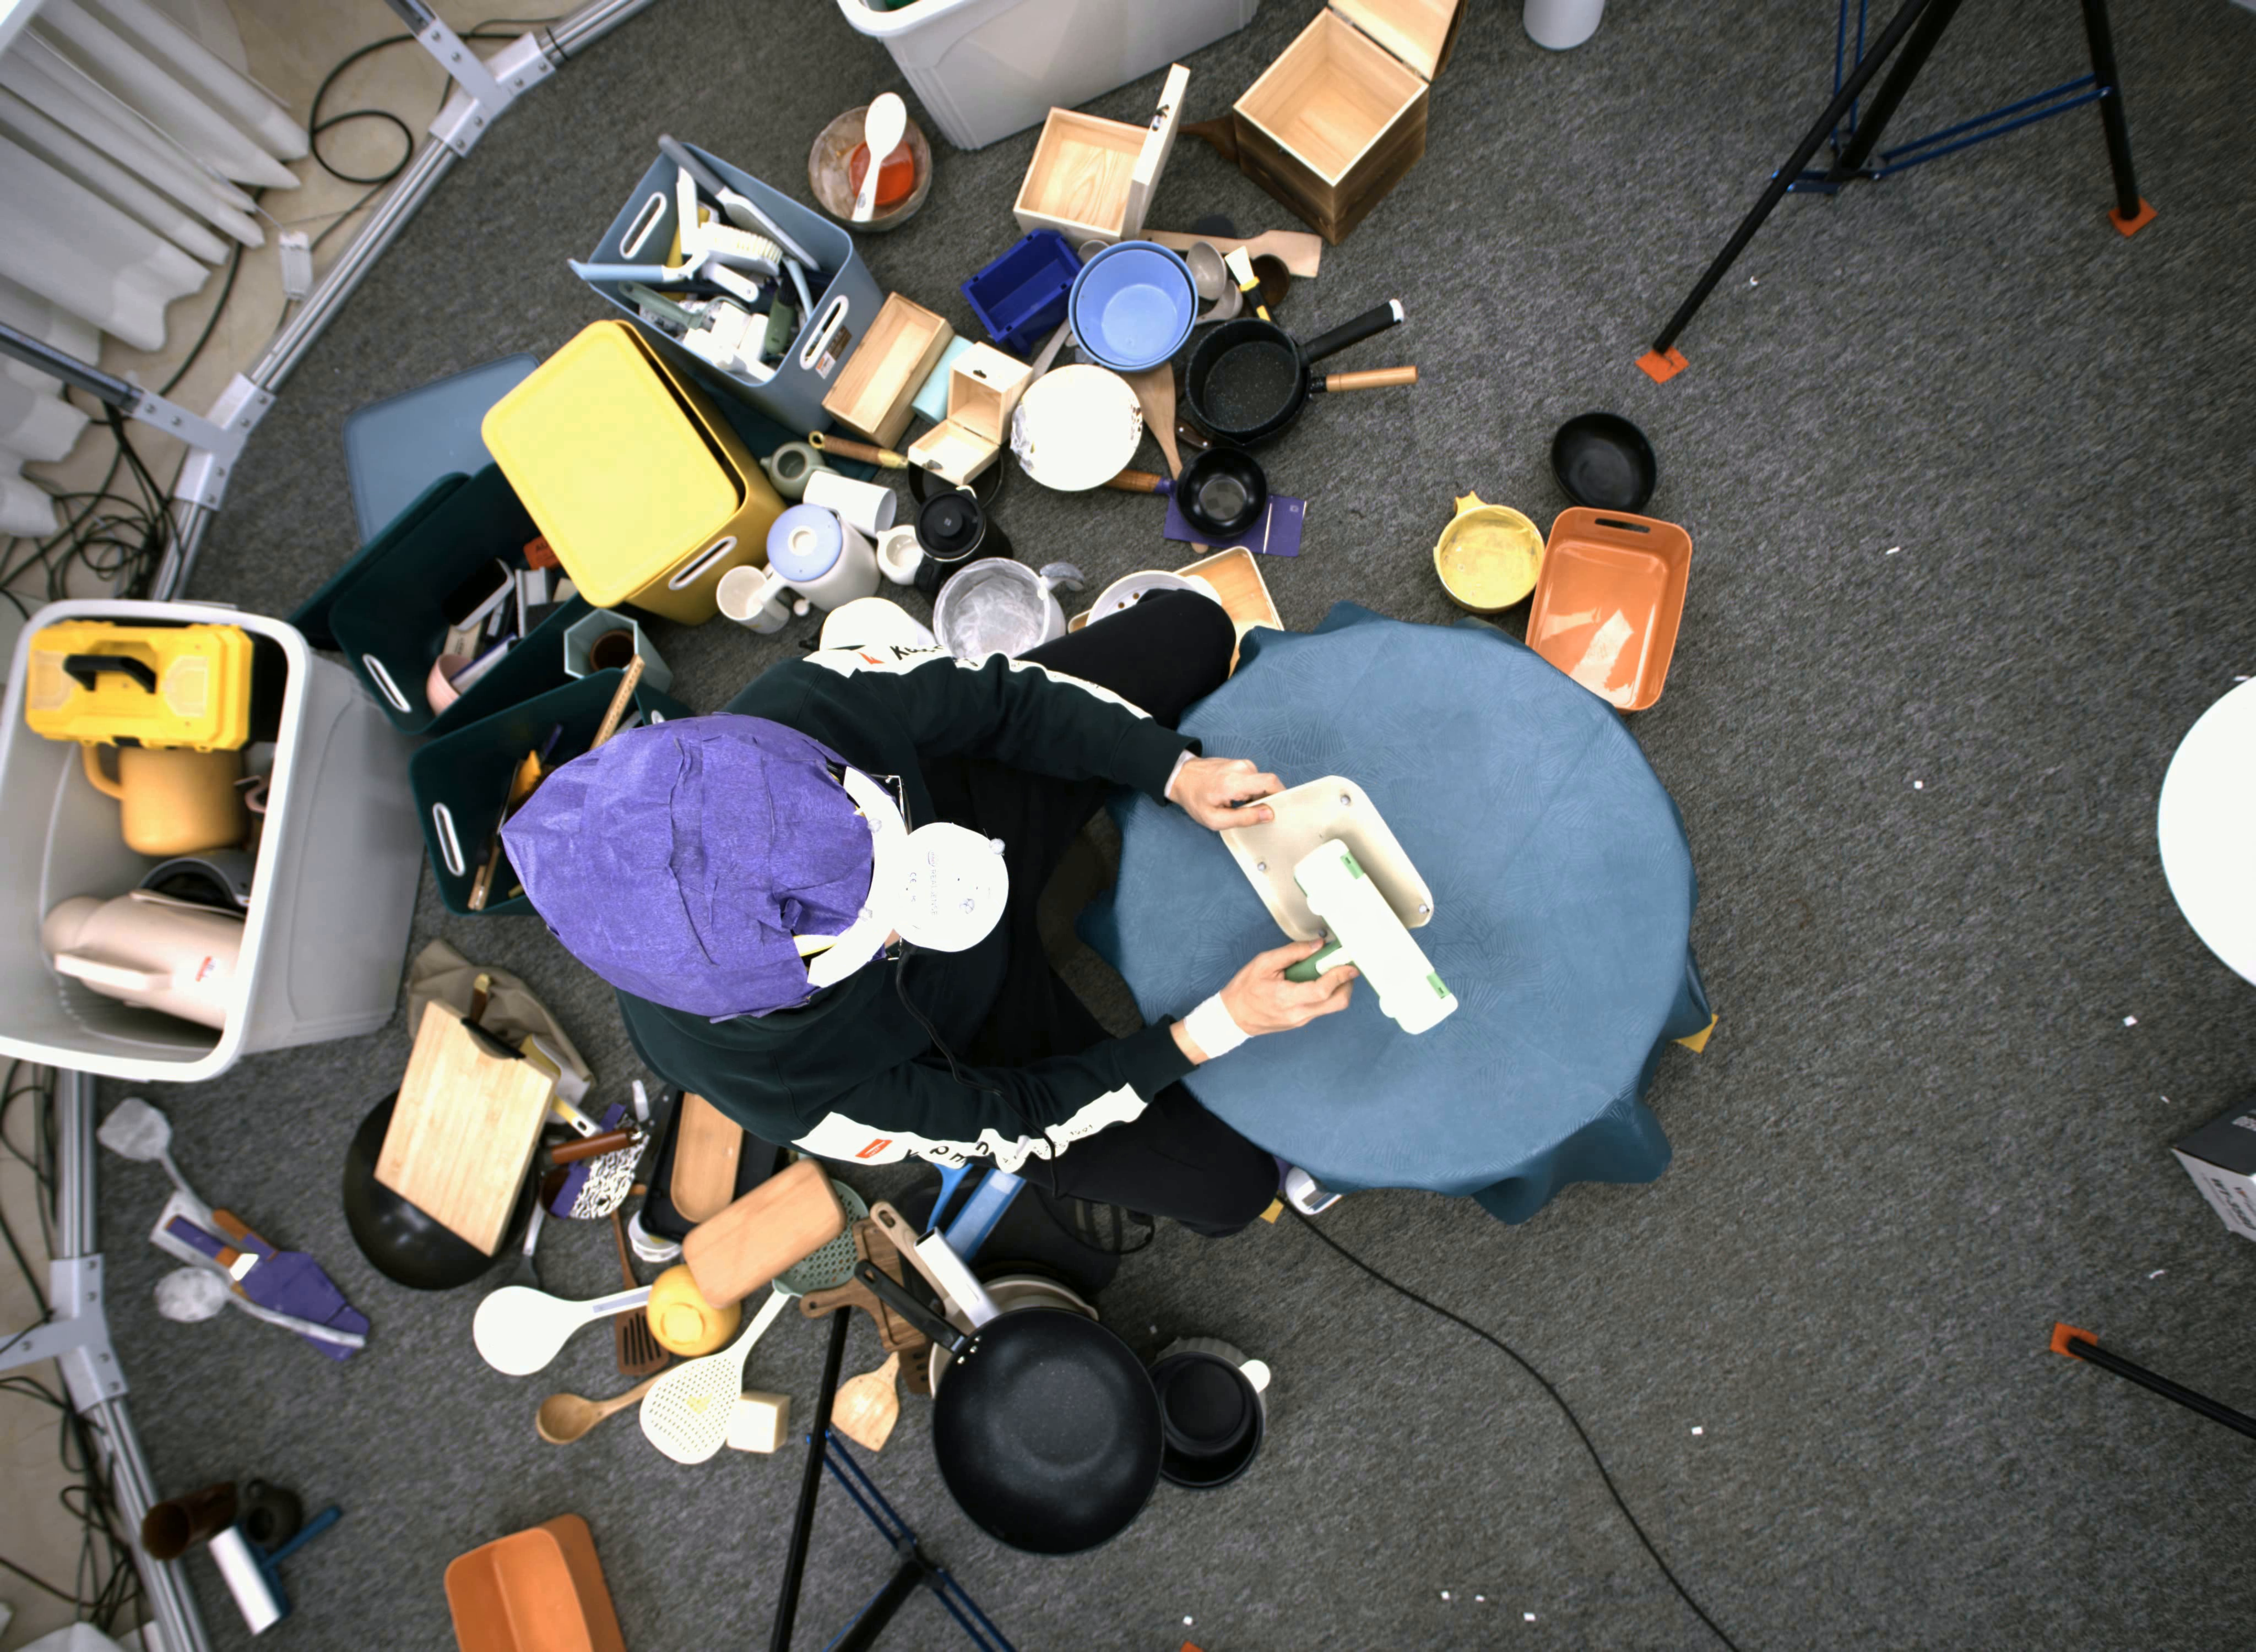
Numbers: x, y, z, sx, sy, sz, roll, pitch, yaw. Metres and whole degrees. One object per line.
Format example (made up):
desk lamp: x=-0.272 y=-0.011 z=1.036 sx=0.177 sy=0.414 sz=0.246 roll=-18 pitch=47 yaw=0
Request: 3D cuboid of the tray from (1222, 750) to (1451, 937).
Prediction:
tray: x=0.202 y=0.020 z=1.363 sx=0.017 sy=0.243 sz=0.172 roll=-39 pitch=100 yaw=-34

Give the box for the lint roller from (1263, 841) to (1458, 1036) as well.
lint roller: x=0.190 y=0.136 z=1.329 sx=0.187 sy=0.080 sz=0.198 roll=-36 pitch=89 yaw=31
